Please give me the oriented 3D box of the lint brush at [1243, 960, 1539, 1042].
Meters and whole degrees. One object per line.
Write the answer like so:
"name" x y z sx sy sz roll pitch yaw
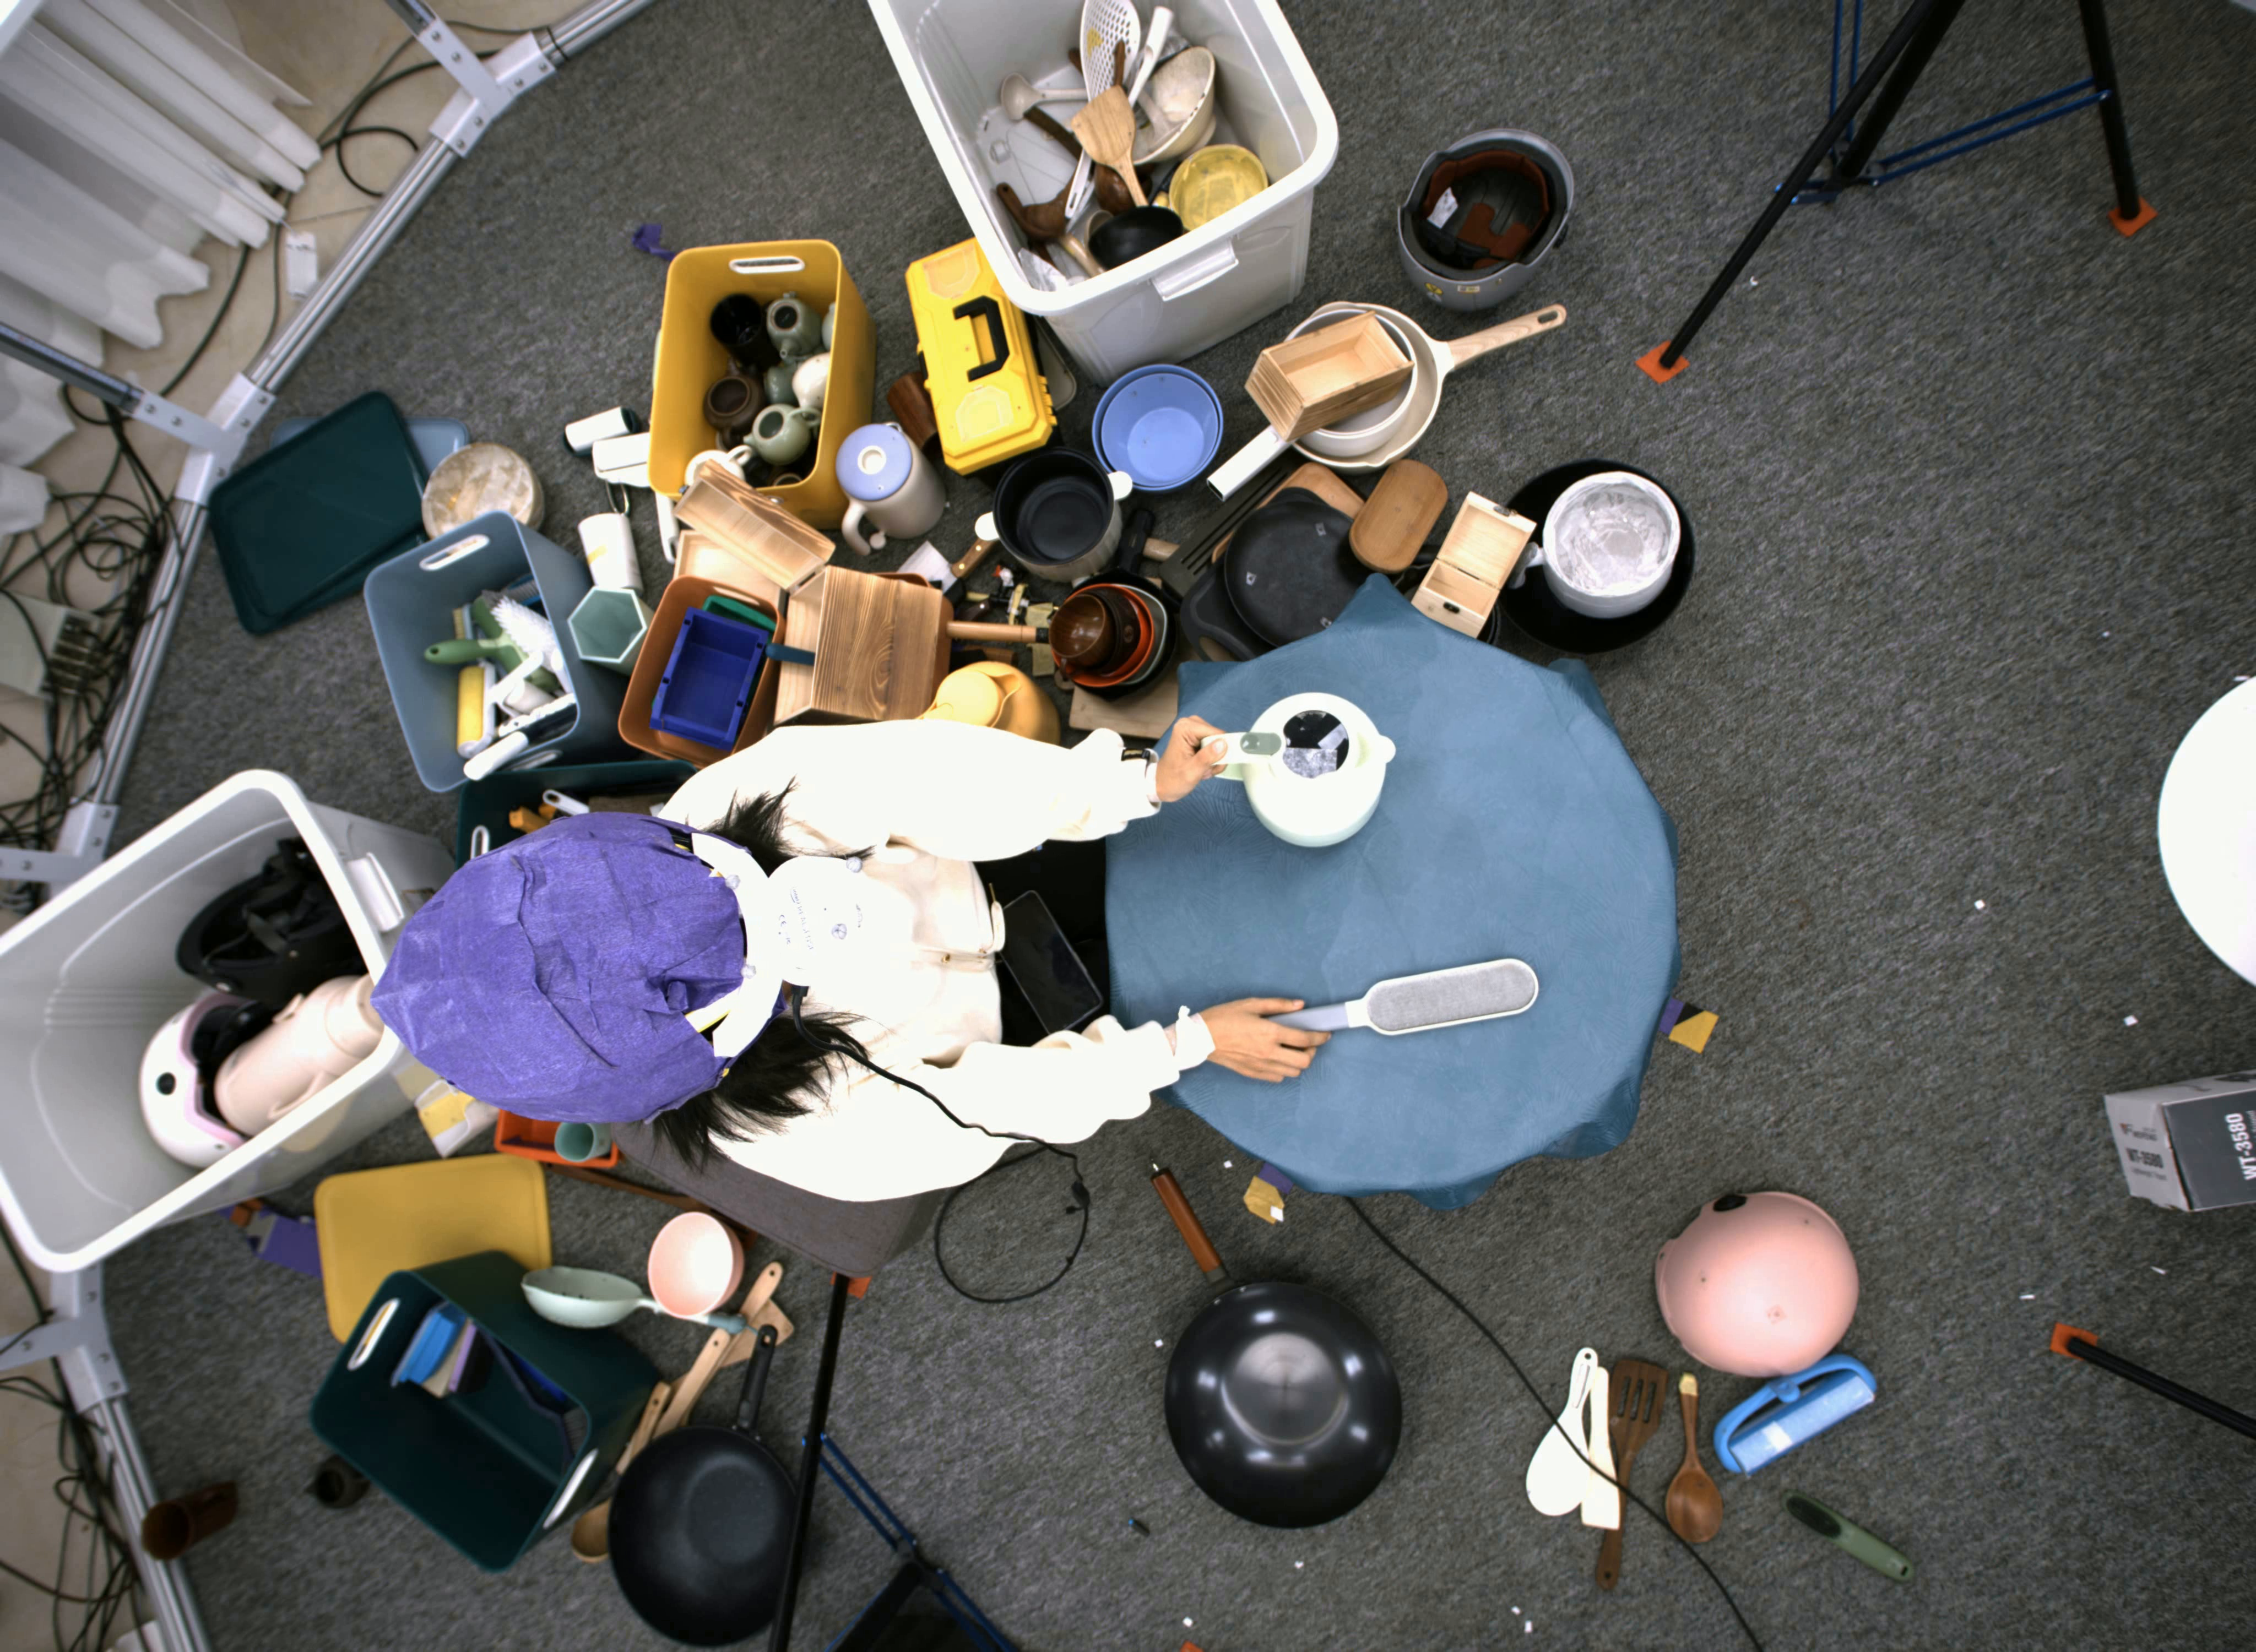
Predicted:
"lint brush" 0.272 0.186 1.438 0.310 0.021 0.060 -11 86 8

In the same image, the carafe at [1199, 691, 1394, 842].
"carafe" 0.169 -0.063 1.358 0.187 0.256 0.144 2 87 12
